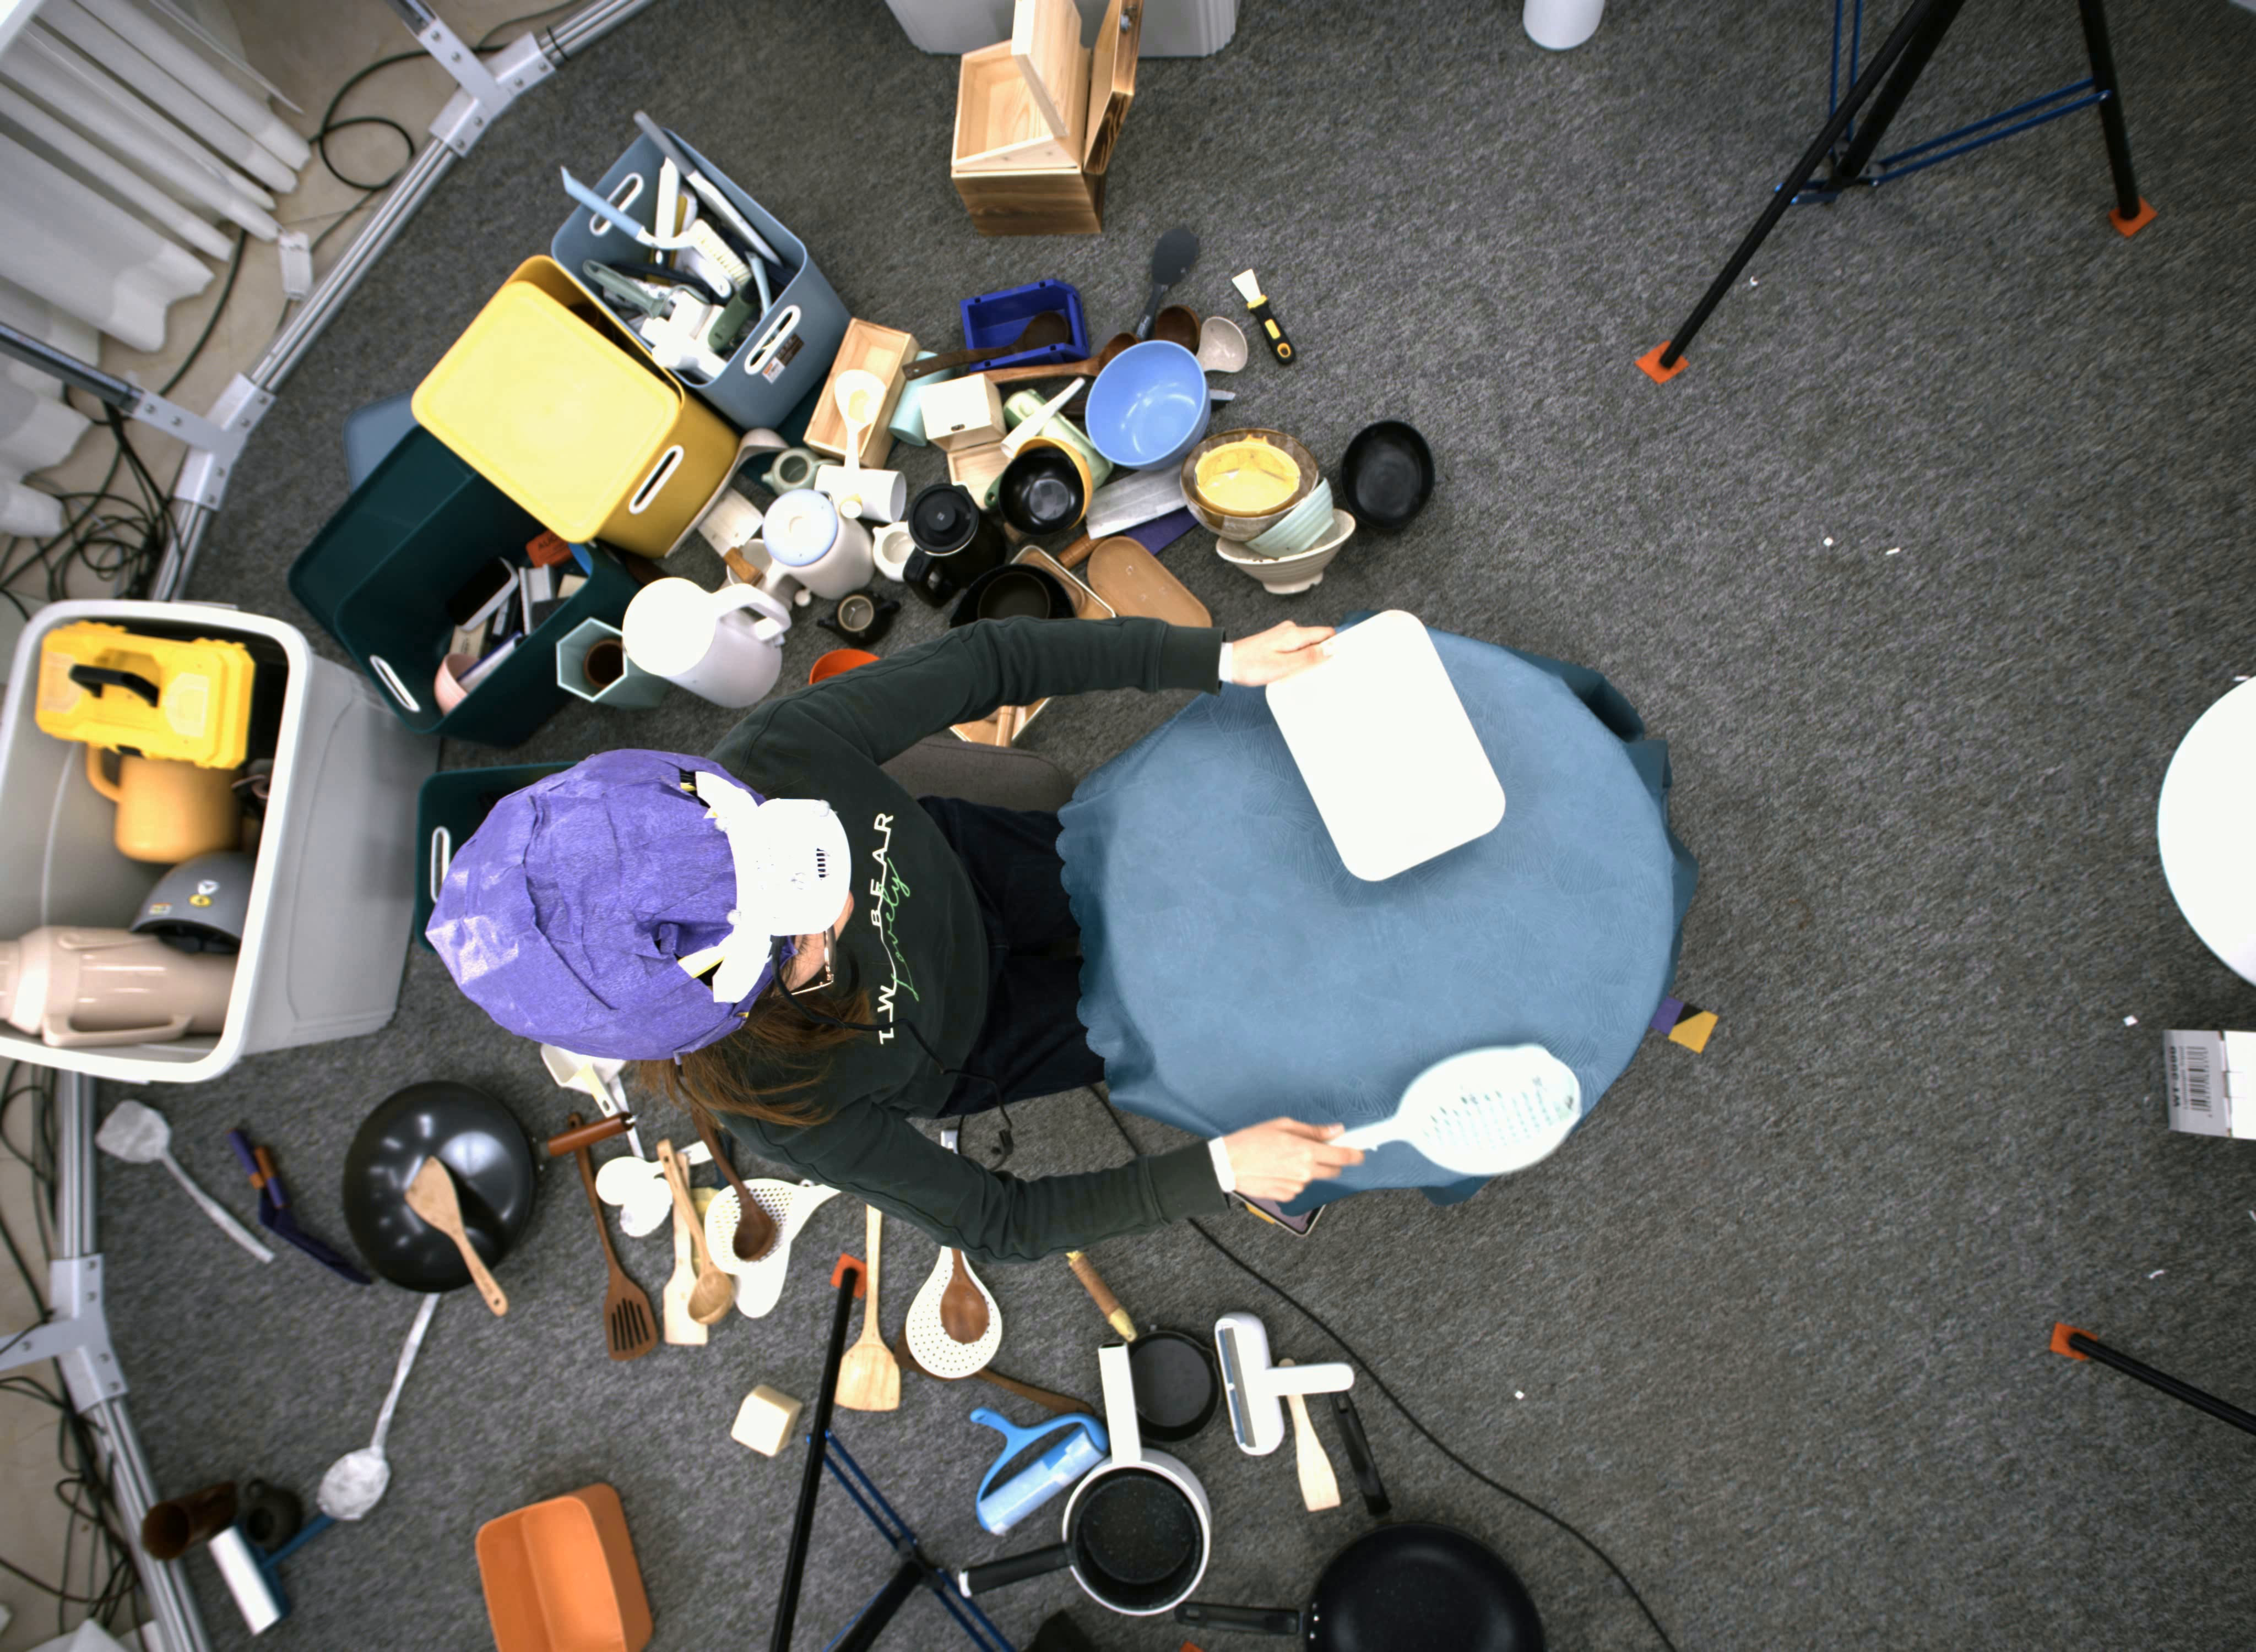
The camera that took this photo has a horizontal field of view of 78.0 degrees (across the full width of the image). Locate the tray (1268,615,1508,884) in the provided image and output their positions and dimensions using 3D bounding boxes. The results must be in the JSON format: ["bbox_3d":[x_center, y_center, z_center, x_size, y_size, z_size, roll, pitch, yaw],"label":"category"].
[{"bbox_3d":[0.257,-0.077,1.368,0.173,0.017,0.239,-25,89,13],"label":"tray"}]

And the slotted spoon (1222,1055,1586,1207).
[{"bbox_3d":[0.262,0.306,1.337,0.360,0.166,0.076,-10,107,7],"label":"slotted spoon"}]
